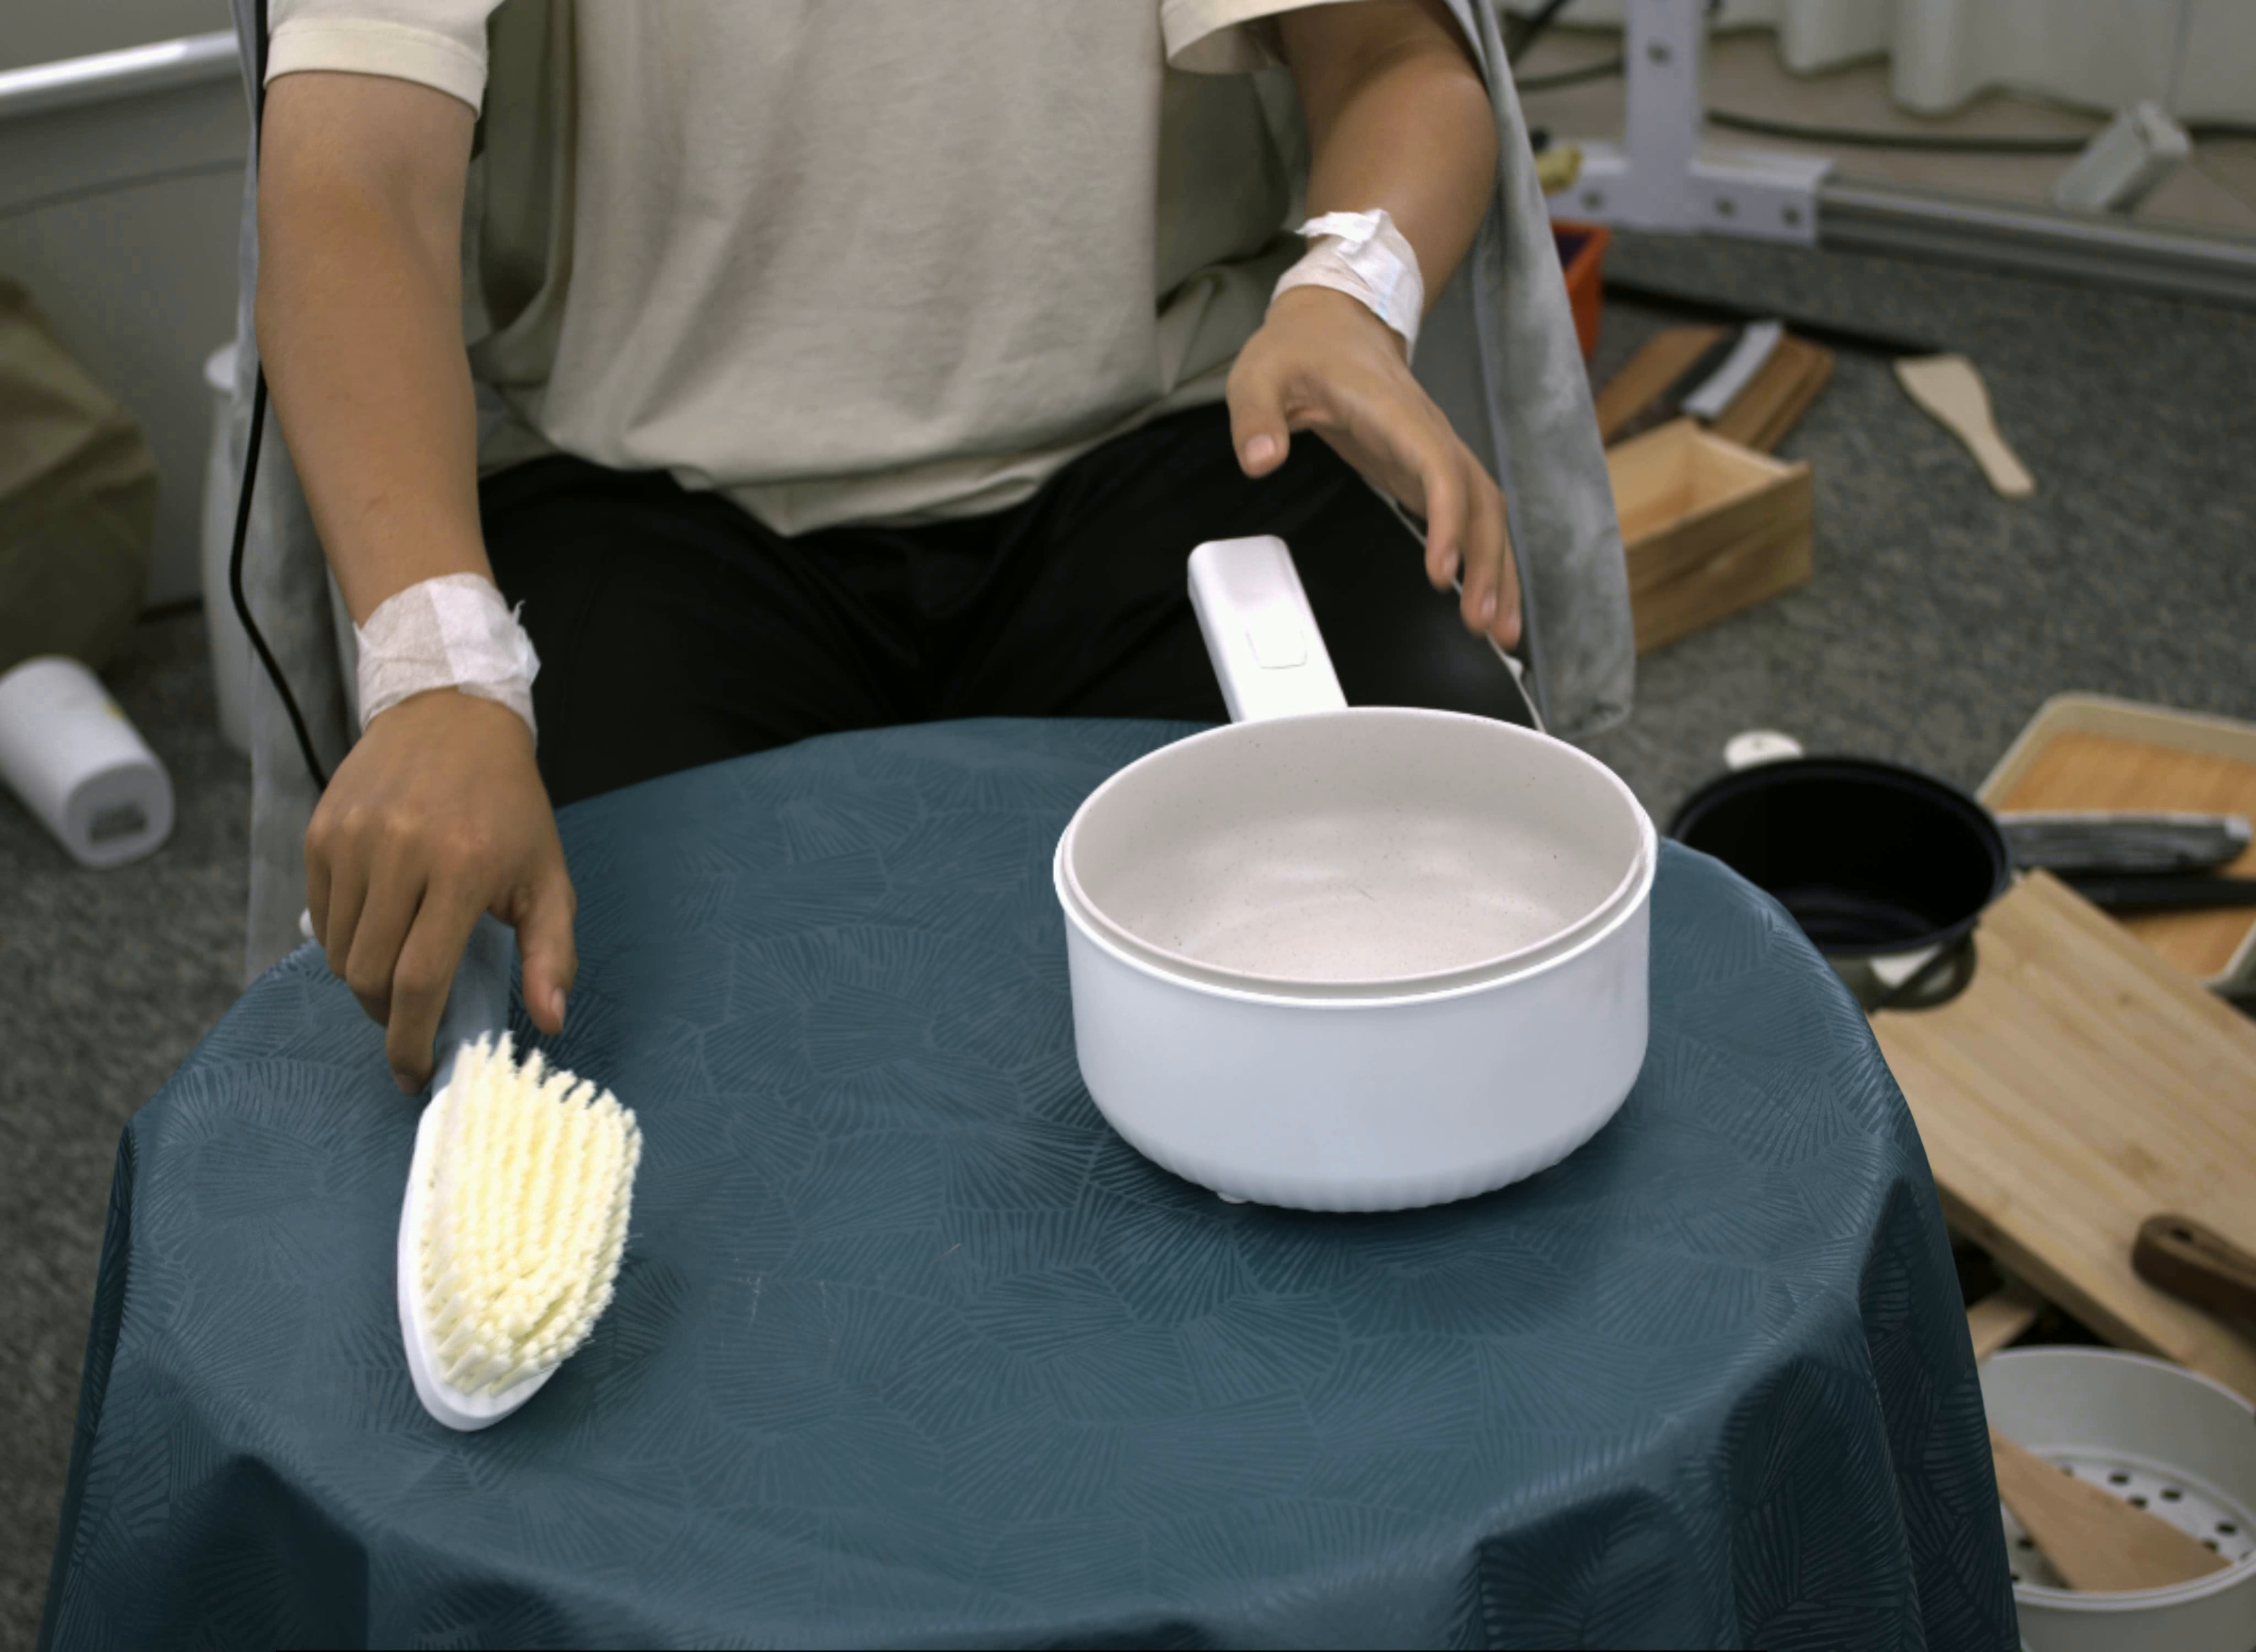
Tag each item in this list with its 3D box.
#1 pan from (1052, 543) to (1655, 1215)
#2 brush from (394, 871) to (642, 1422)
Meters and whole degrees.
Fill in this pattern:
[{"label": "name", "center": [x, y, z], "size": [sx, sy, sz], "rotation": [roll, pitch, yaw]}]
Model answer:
[{"label": "pan", "center": [0.066, 0.016, 1.955], "size": [0.201, 0.101, 0.359], "rotation": [-7, 26, -6]}, {"label": "brush", "center": [-0.204, 0.078, 1.871], "size": [0.084, 0.082, 0.330], "rotation": [-17, 29, 6]}]
